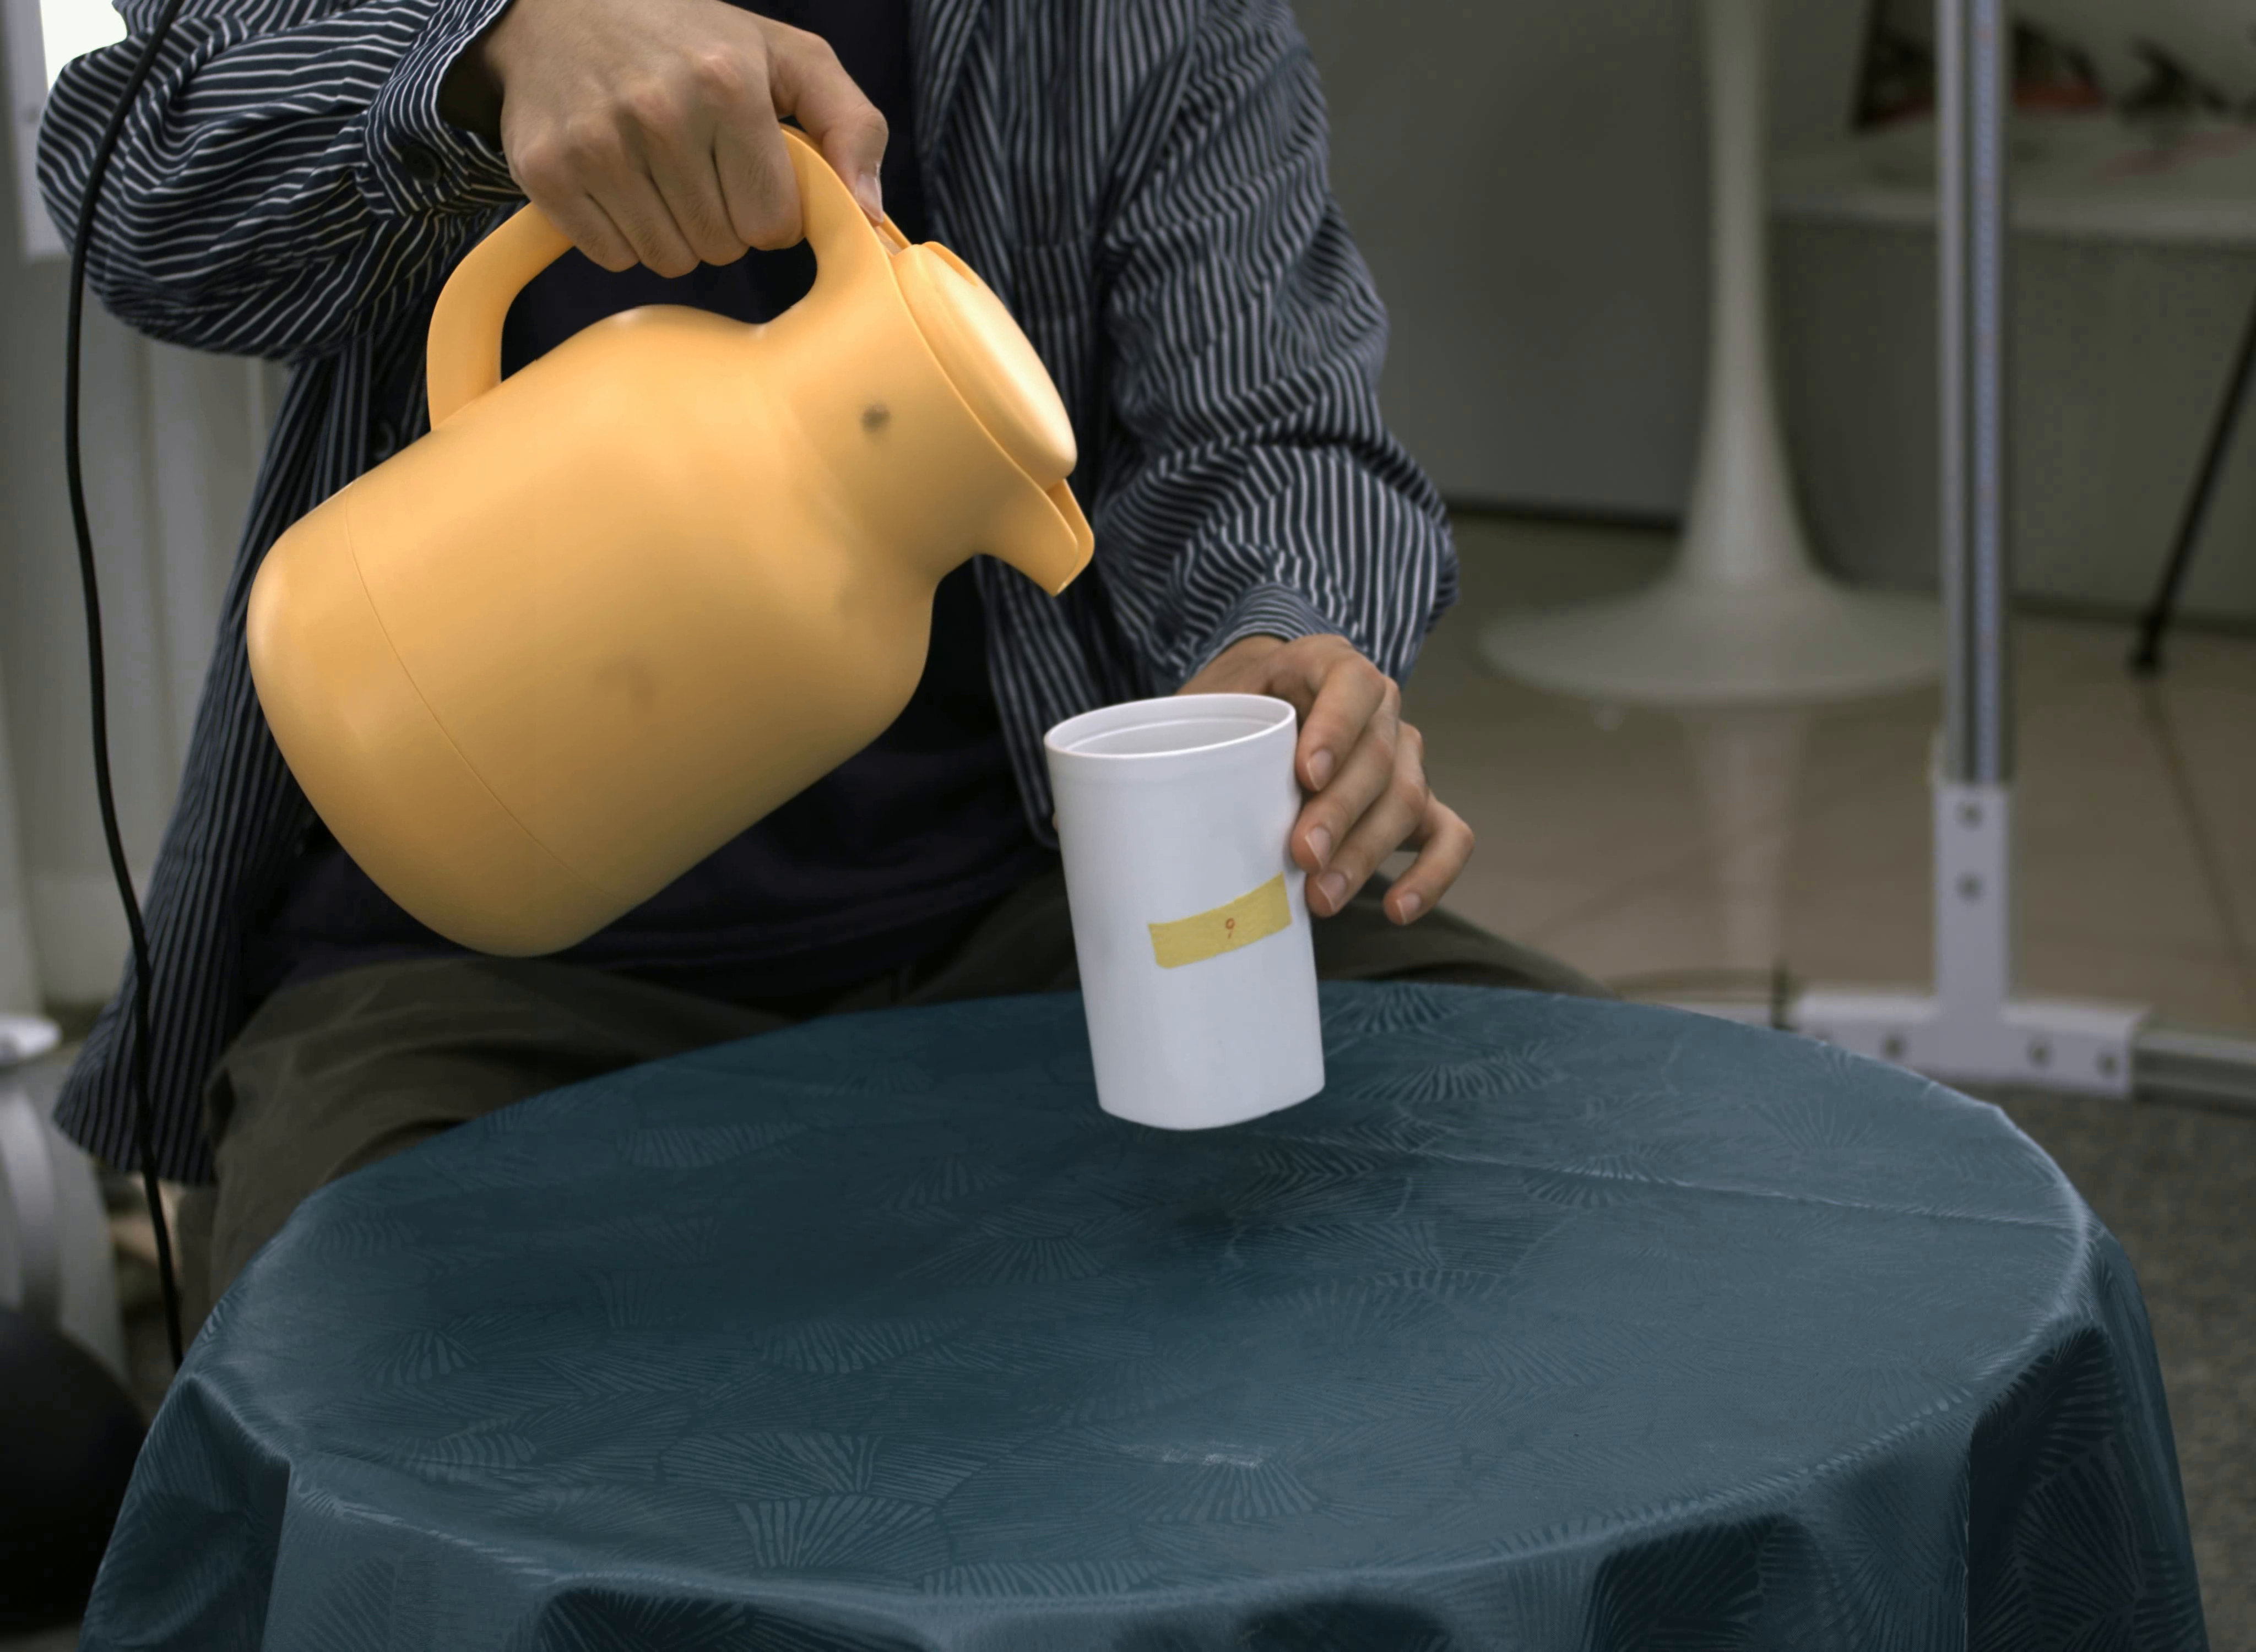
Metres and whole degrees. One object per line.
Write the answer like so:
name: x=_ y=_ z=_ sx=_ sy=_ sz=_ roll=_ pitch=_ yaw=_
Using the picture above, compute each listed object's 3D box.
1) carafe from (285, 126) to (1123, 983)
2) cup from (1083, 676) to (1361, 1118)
carafe: x=-0.141 y=-0.092 z=1.718 sx=0.260 sy=0.203 sz=0.162 roll=-34 pitch=0 yaw=13
cup: x=0.033 y=0.022 z=1.713 sx=0.080 sy=0.127 sz=0.082 roll=-7 pitch=11 yaw=1
